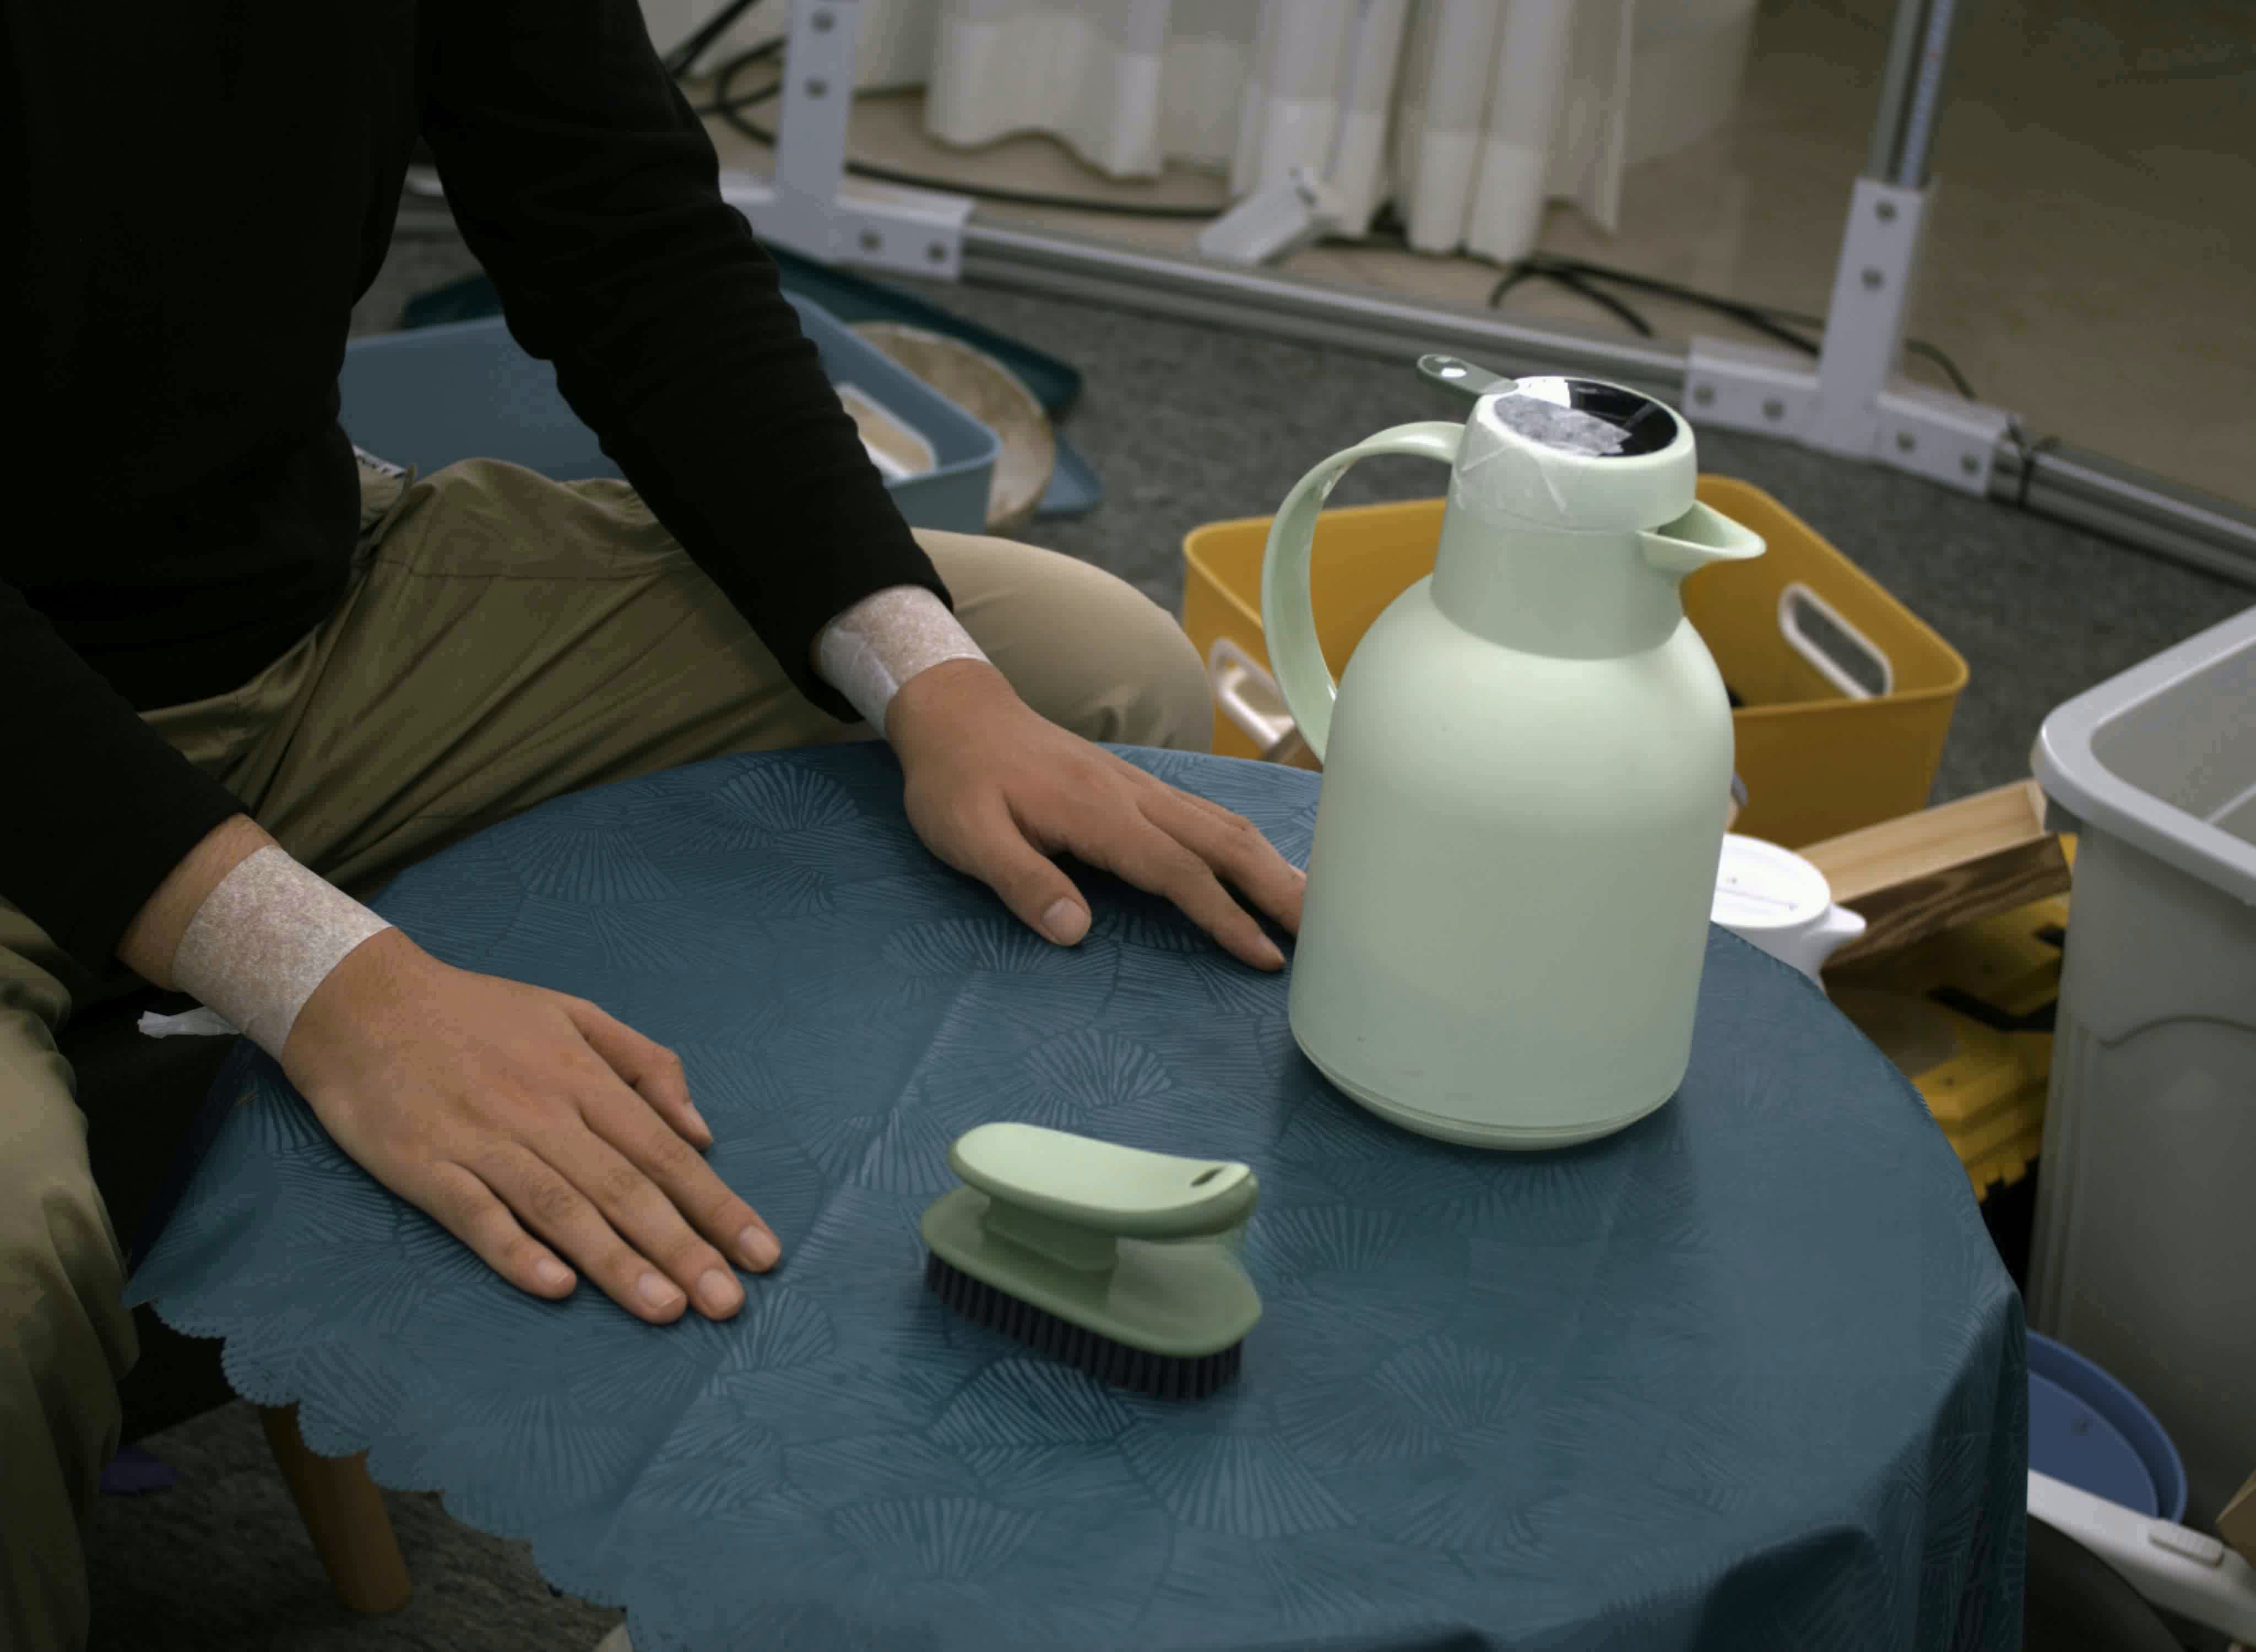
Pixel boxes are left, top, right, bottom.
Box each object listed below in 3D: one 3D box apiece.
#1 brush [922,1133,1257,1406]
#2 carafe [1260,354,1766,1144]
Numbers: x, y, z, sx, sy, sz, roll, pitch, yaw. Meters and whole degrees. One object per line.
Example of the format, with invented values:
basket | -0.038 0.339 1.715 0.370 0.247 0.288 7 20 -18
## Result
brush | -0.011 0.141 1.717 0.123 0.075 0.059 6 22 39
carafe | 0.127 -0.032 1.854 0.188 0.256 0.144 20 29 30
